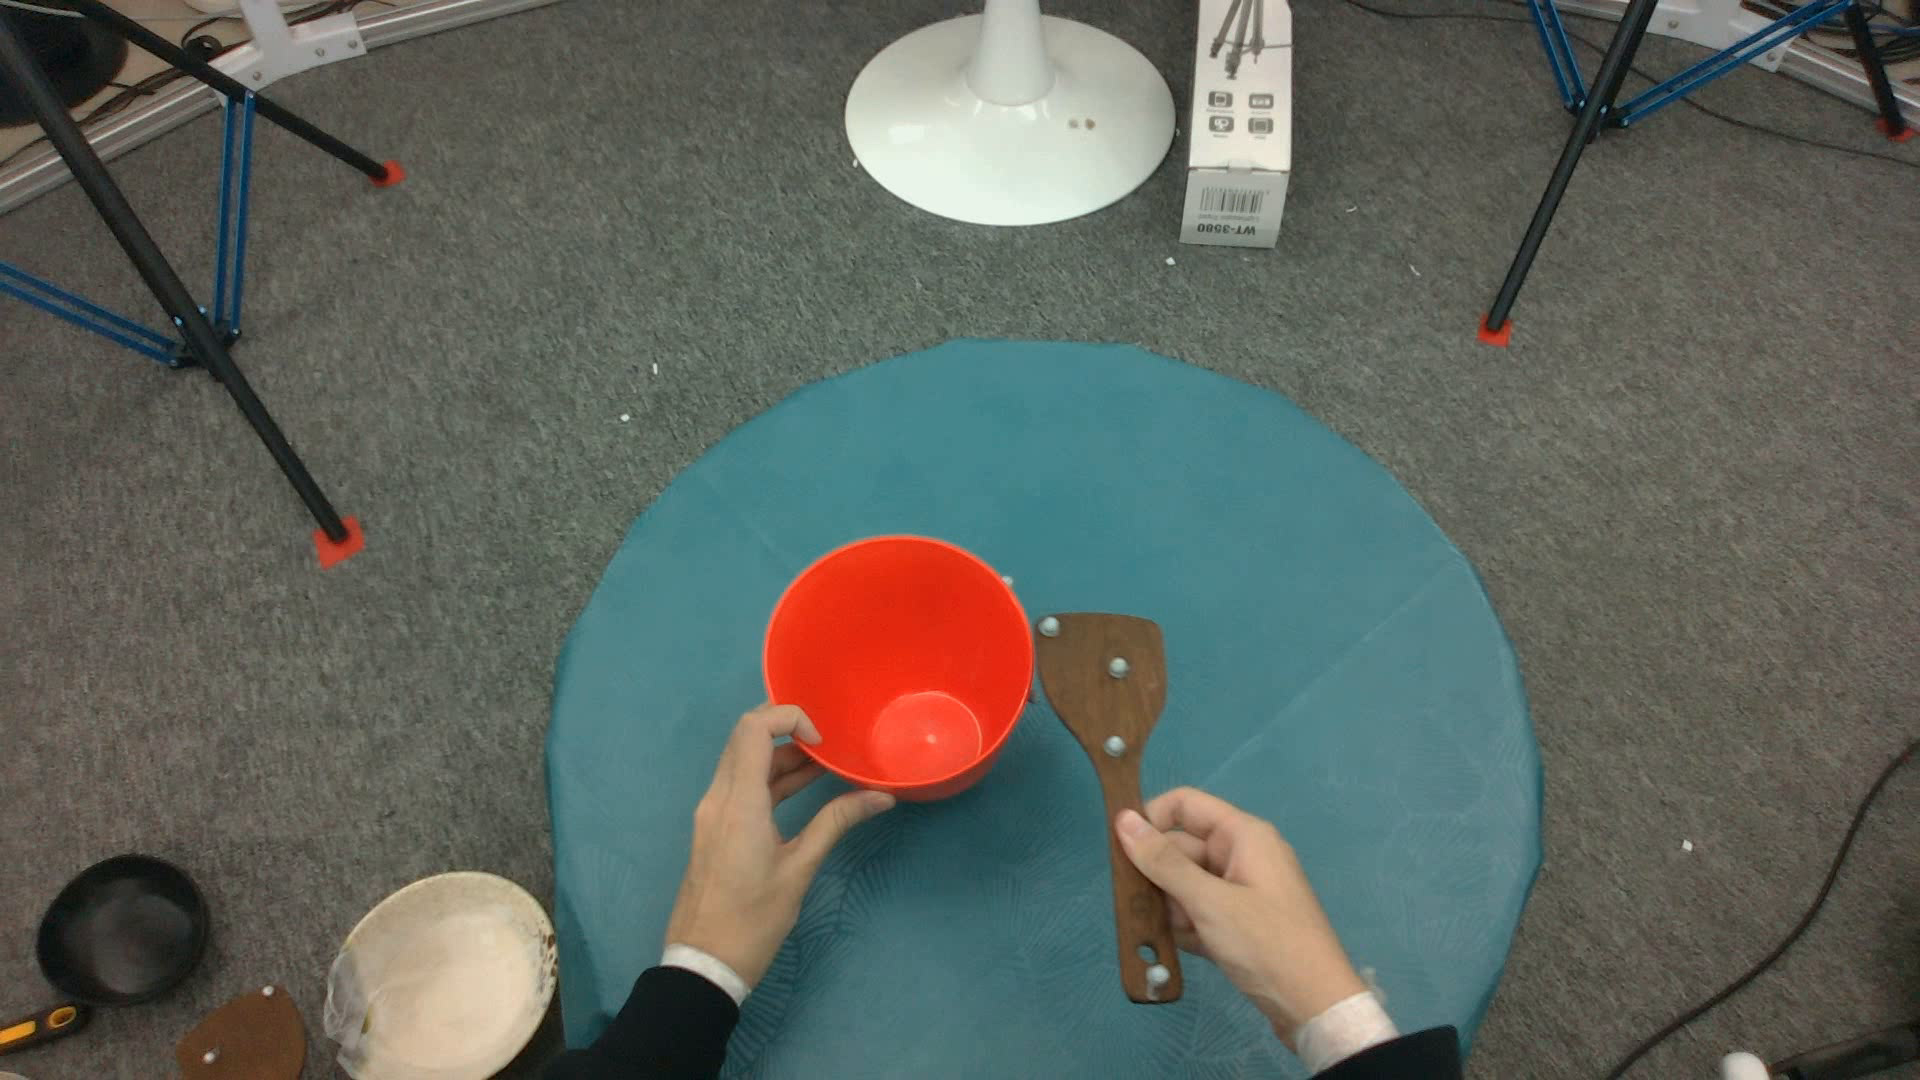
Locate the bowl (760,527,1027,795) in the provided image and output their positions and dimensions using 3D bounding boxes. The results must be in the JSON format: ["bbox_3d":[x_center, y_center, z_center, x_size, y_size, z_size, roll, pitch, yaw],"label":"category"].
[{"bbox_3d":[-0.031,0.081,0.780,0.148,0.104,0.148,-2,55,3],"label":"bowl"}]

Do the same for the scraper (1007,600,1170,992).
[{"bbox_3d":[0.070,0.117,0.673,0.076,0.011,0.212,3,51,-13],"label":"scraper"}]
